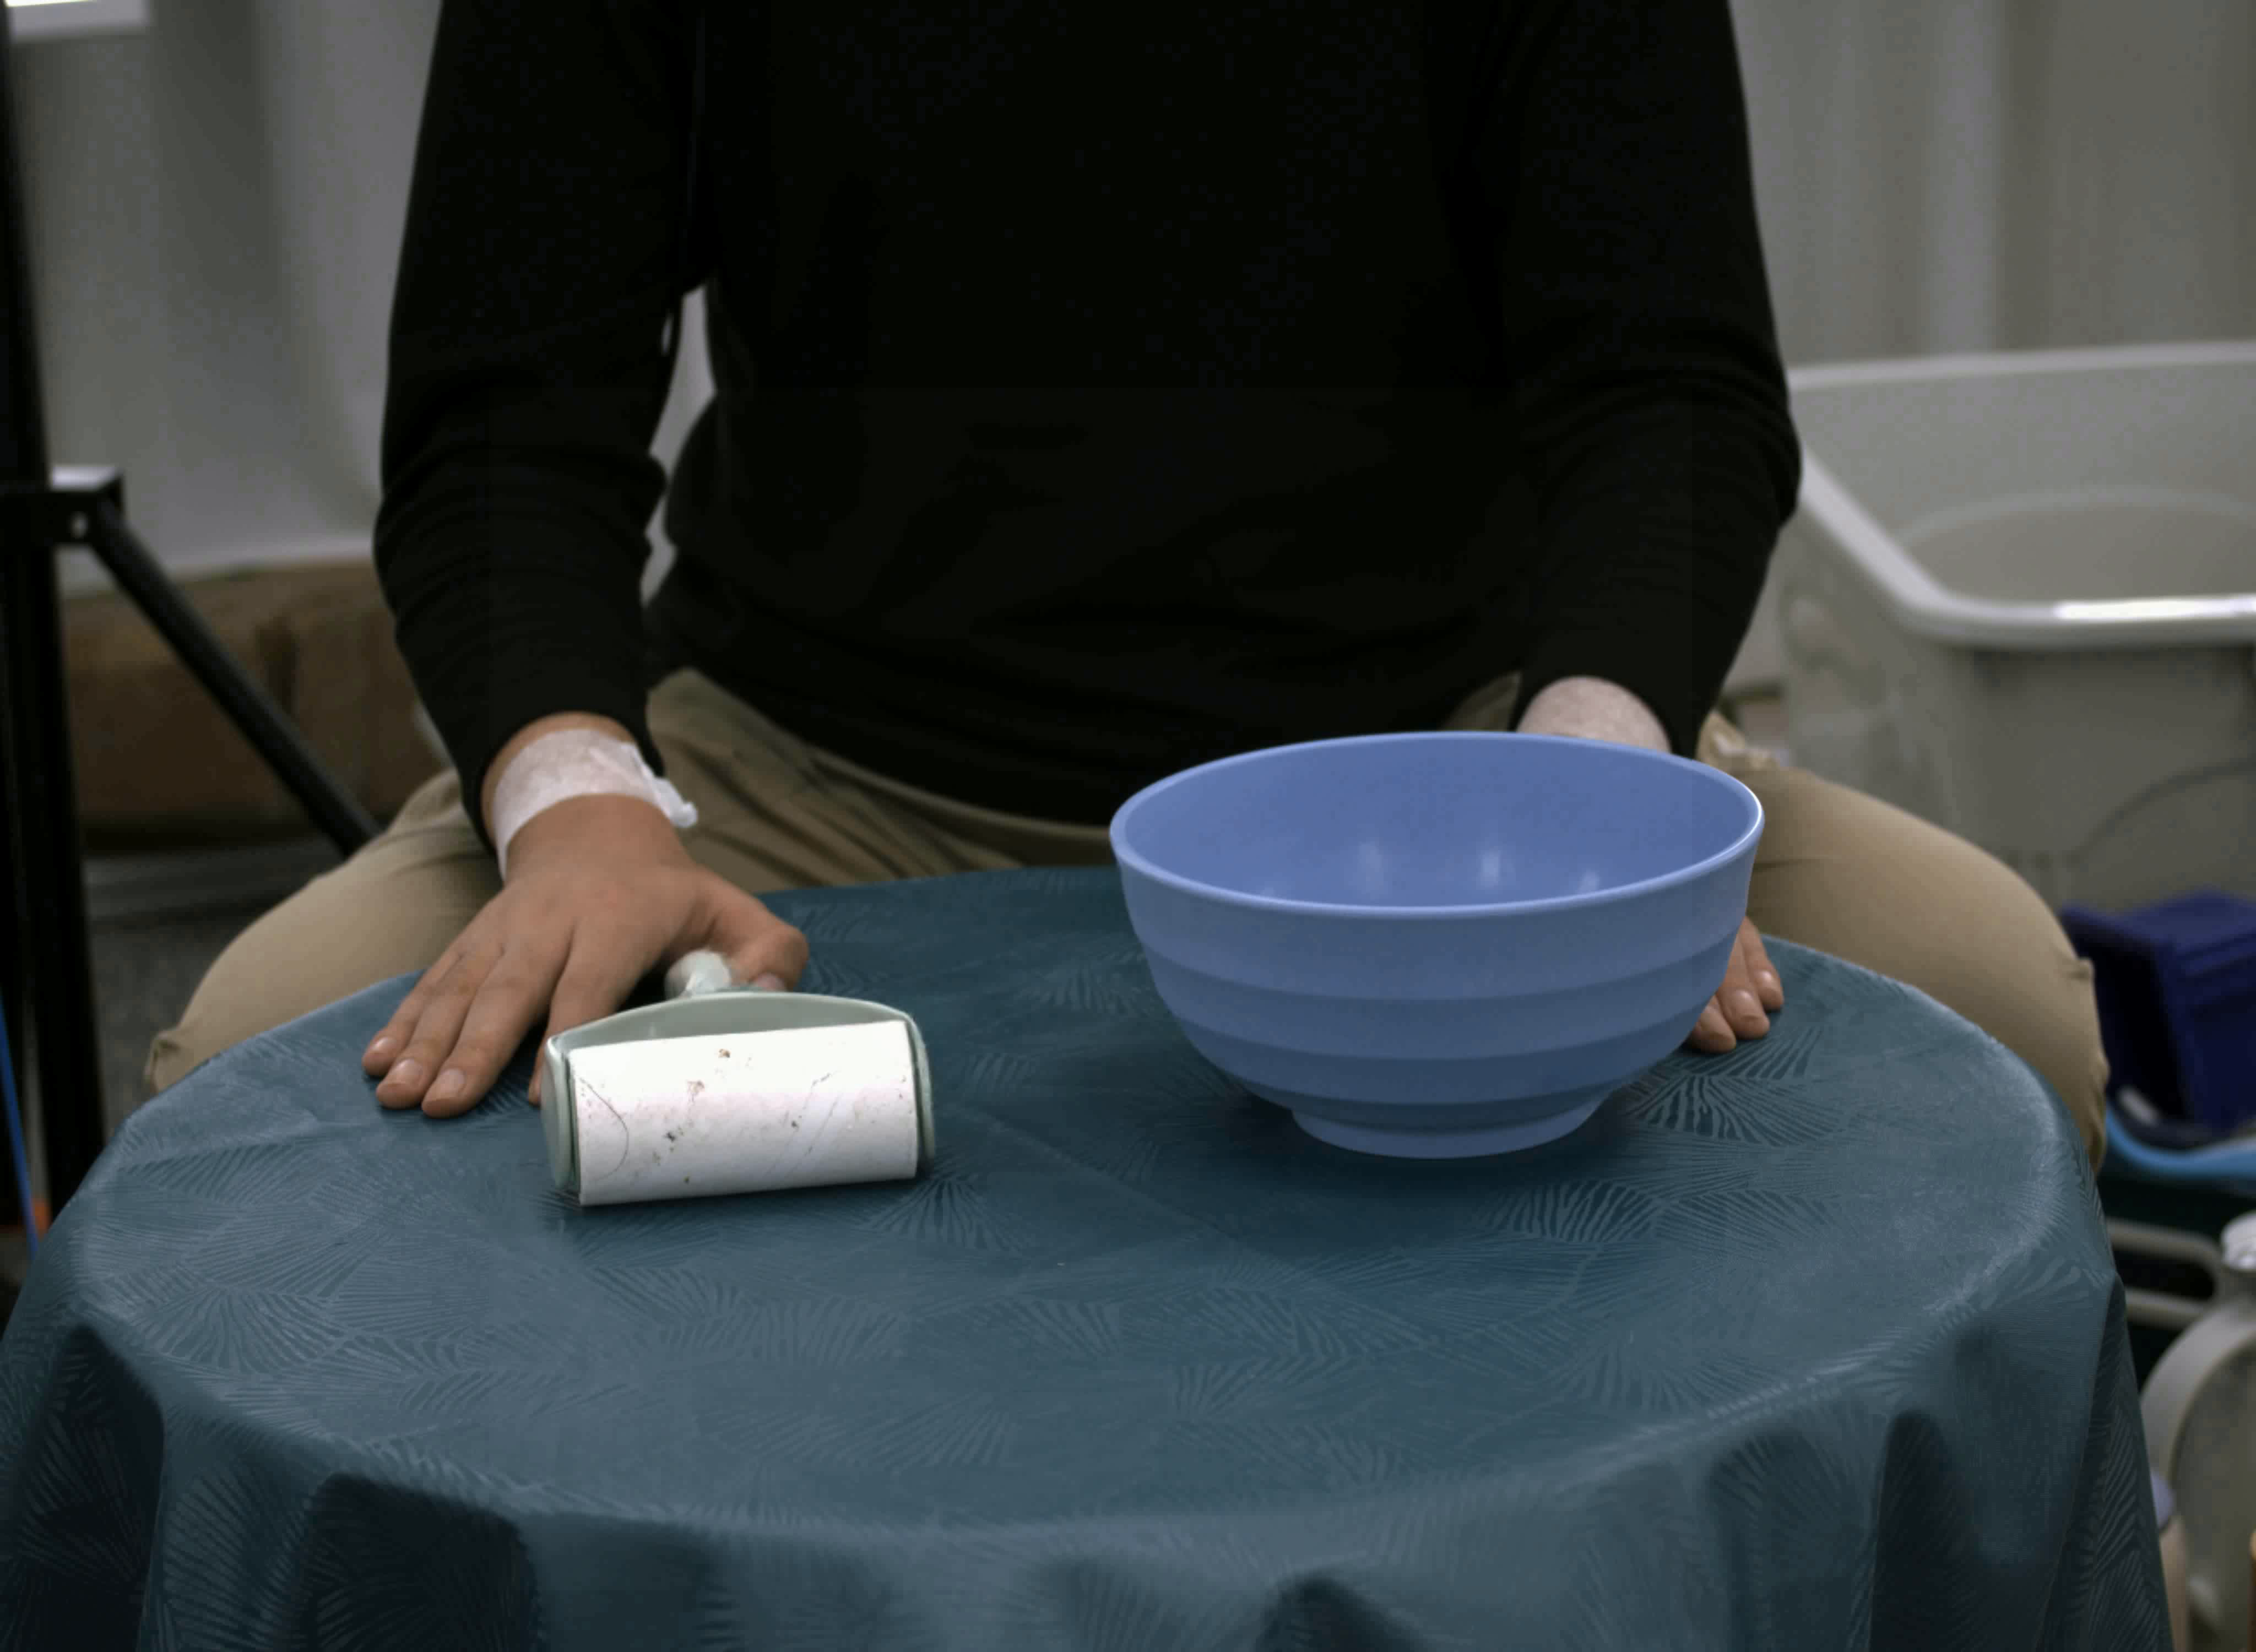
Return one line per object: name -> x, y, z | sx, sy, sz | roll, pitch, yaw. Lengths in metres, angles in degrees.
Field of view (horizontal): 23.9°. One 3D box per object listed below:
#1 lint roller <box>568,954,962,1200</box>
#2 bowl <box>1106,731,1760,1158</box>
lint roller -> -0.117, 0.066, 1.645 | 0.115, 0.048, 0.199 | -6, 14, -7
bowl -> 0.094, 0.041, 1.602 | 0.195, 0.095, 0.197 | -4, 16, 0
